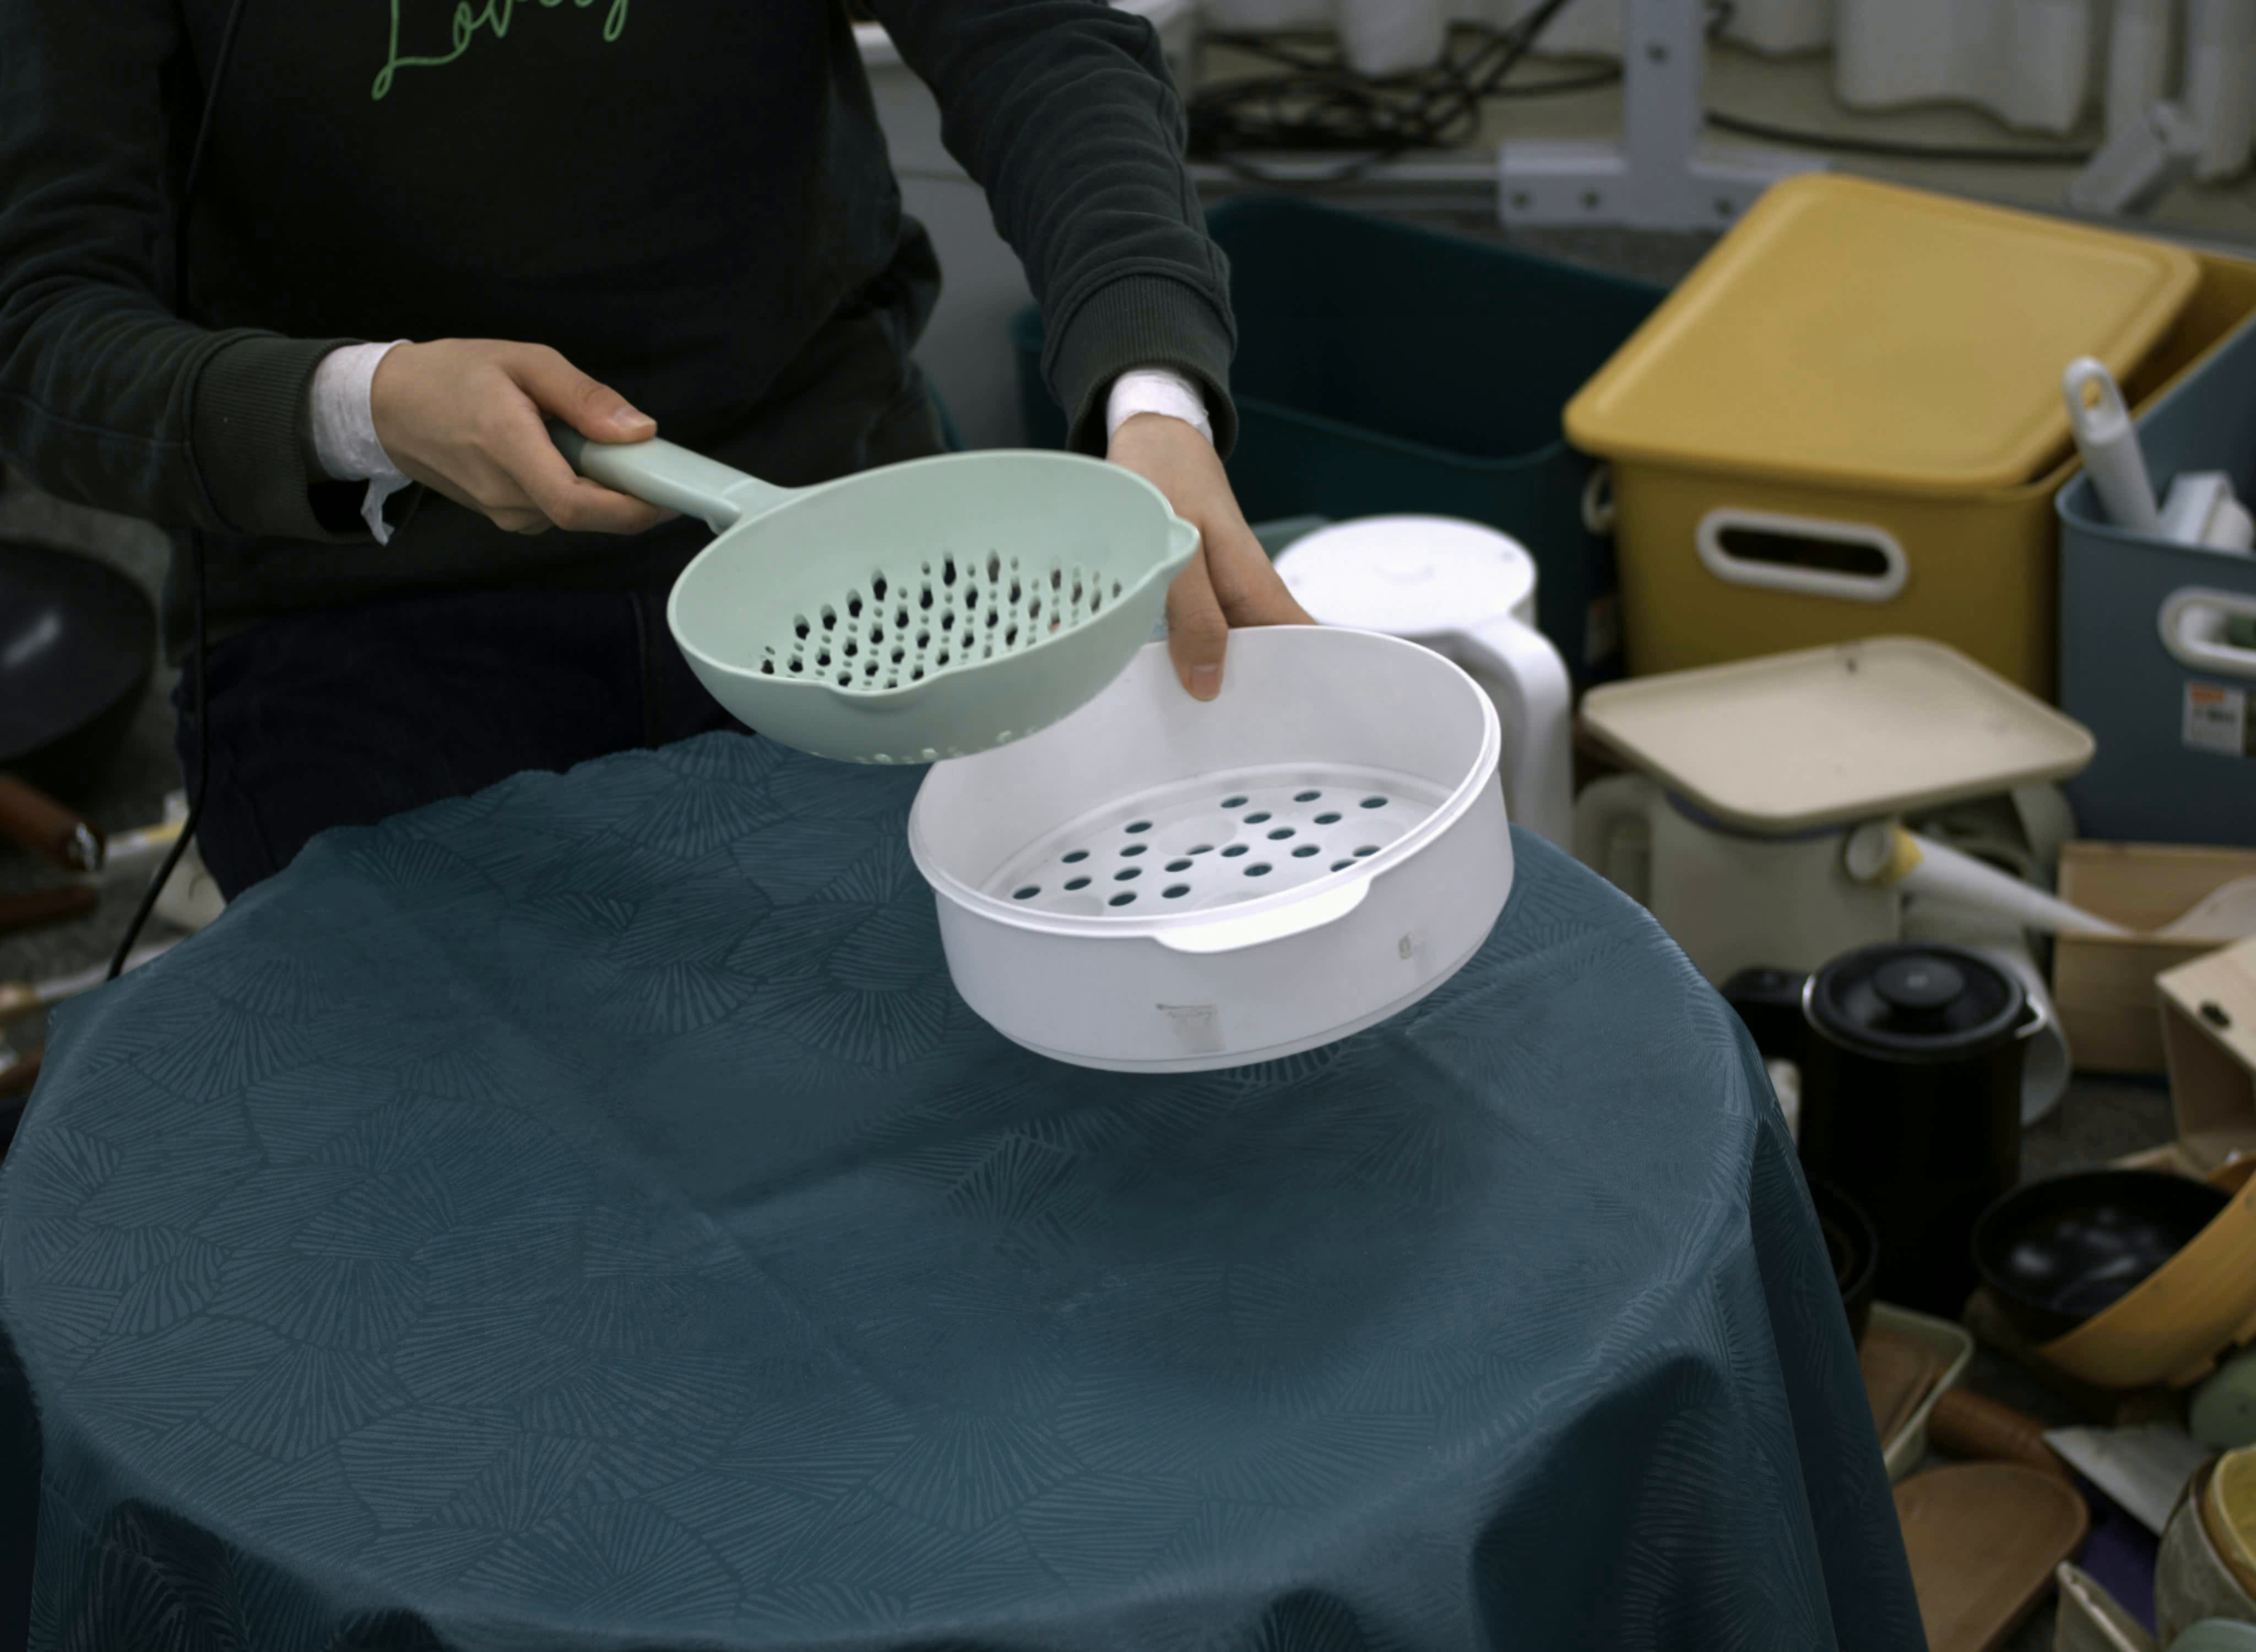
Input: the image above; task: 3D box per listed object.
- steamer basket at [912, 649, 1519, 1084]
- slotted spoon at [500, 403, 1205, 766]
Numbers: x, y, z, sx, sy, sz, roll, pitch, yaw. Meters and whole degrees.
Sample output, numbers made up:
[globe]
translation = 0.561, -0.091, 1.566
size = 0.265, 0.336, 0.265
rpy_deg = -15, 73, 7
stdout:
[steamer basket]
translation = 0.032, 0.014, 1.873
size = 0.201, 0.068, 0.233
rpy_deg = -13, 26, -7
[slotted spoon]
translation = -0.121, -0.100, 1.919
size = 0.171, 0.074, 0.359
rpy_deg = -24, 36, -30
